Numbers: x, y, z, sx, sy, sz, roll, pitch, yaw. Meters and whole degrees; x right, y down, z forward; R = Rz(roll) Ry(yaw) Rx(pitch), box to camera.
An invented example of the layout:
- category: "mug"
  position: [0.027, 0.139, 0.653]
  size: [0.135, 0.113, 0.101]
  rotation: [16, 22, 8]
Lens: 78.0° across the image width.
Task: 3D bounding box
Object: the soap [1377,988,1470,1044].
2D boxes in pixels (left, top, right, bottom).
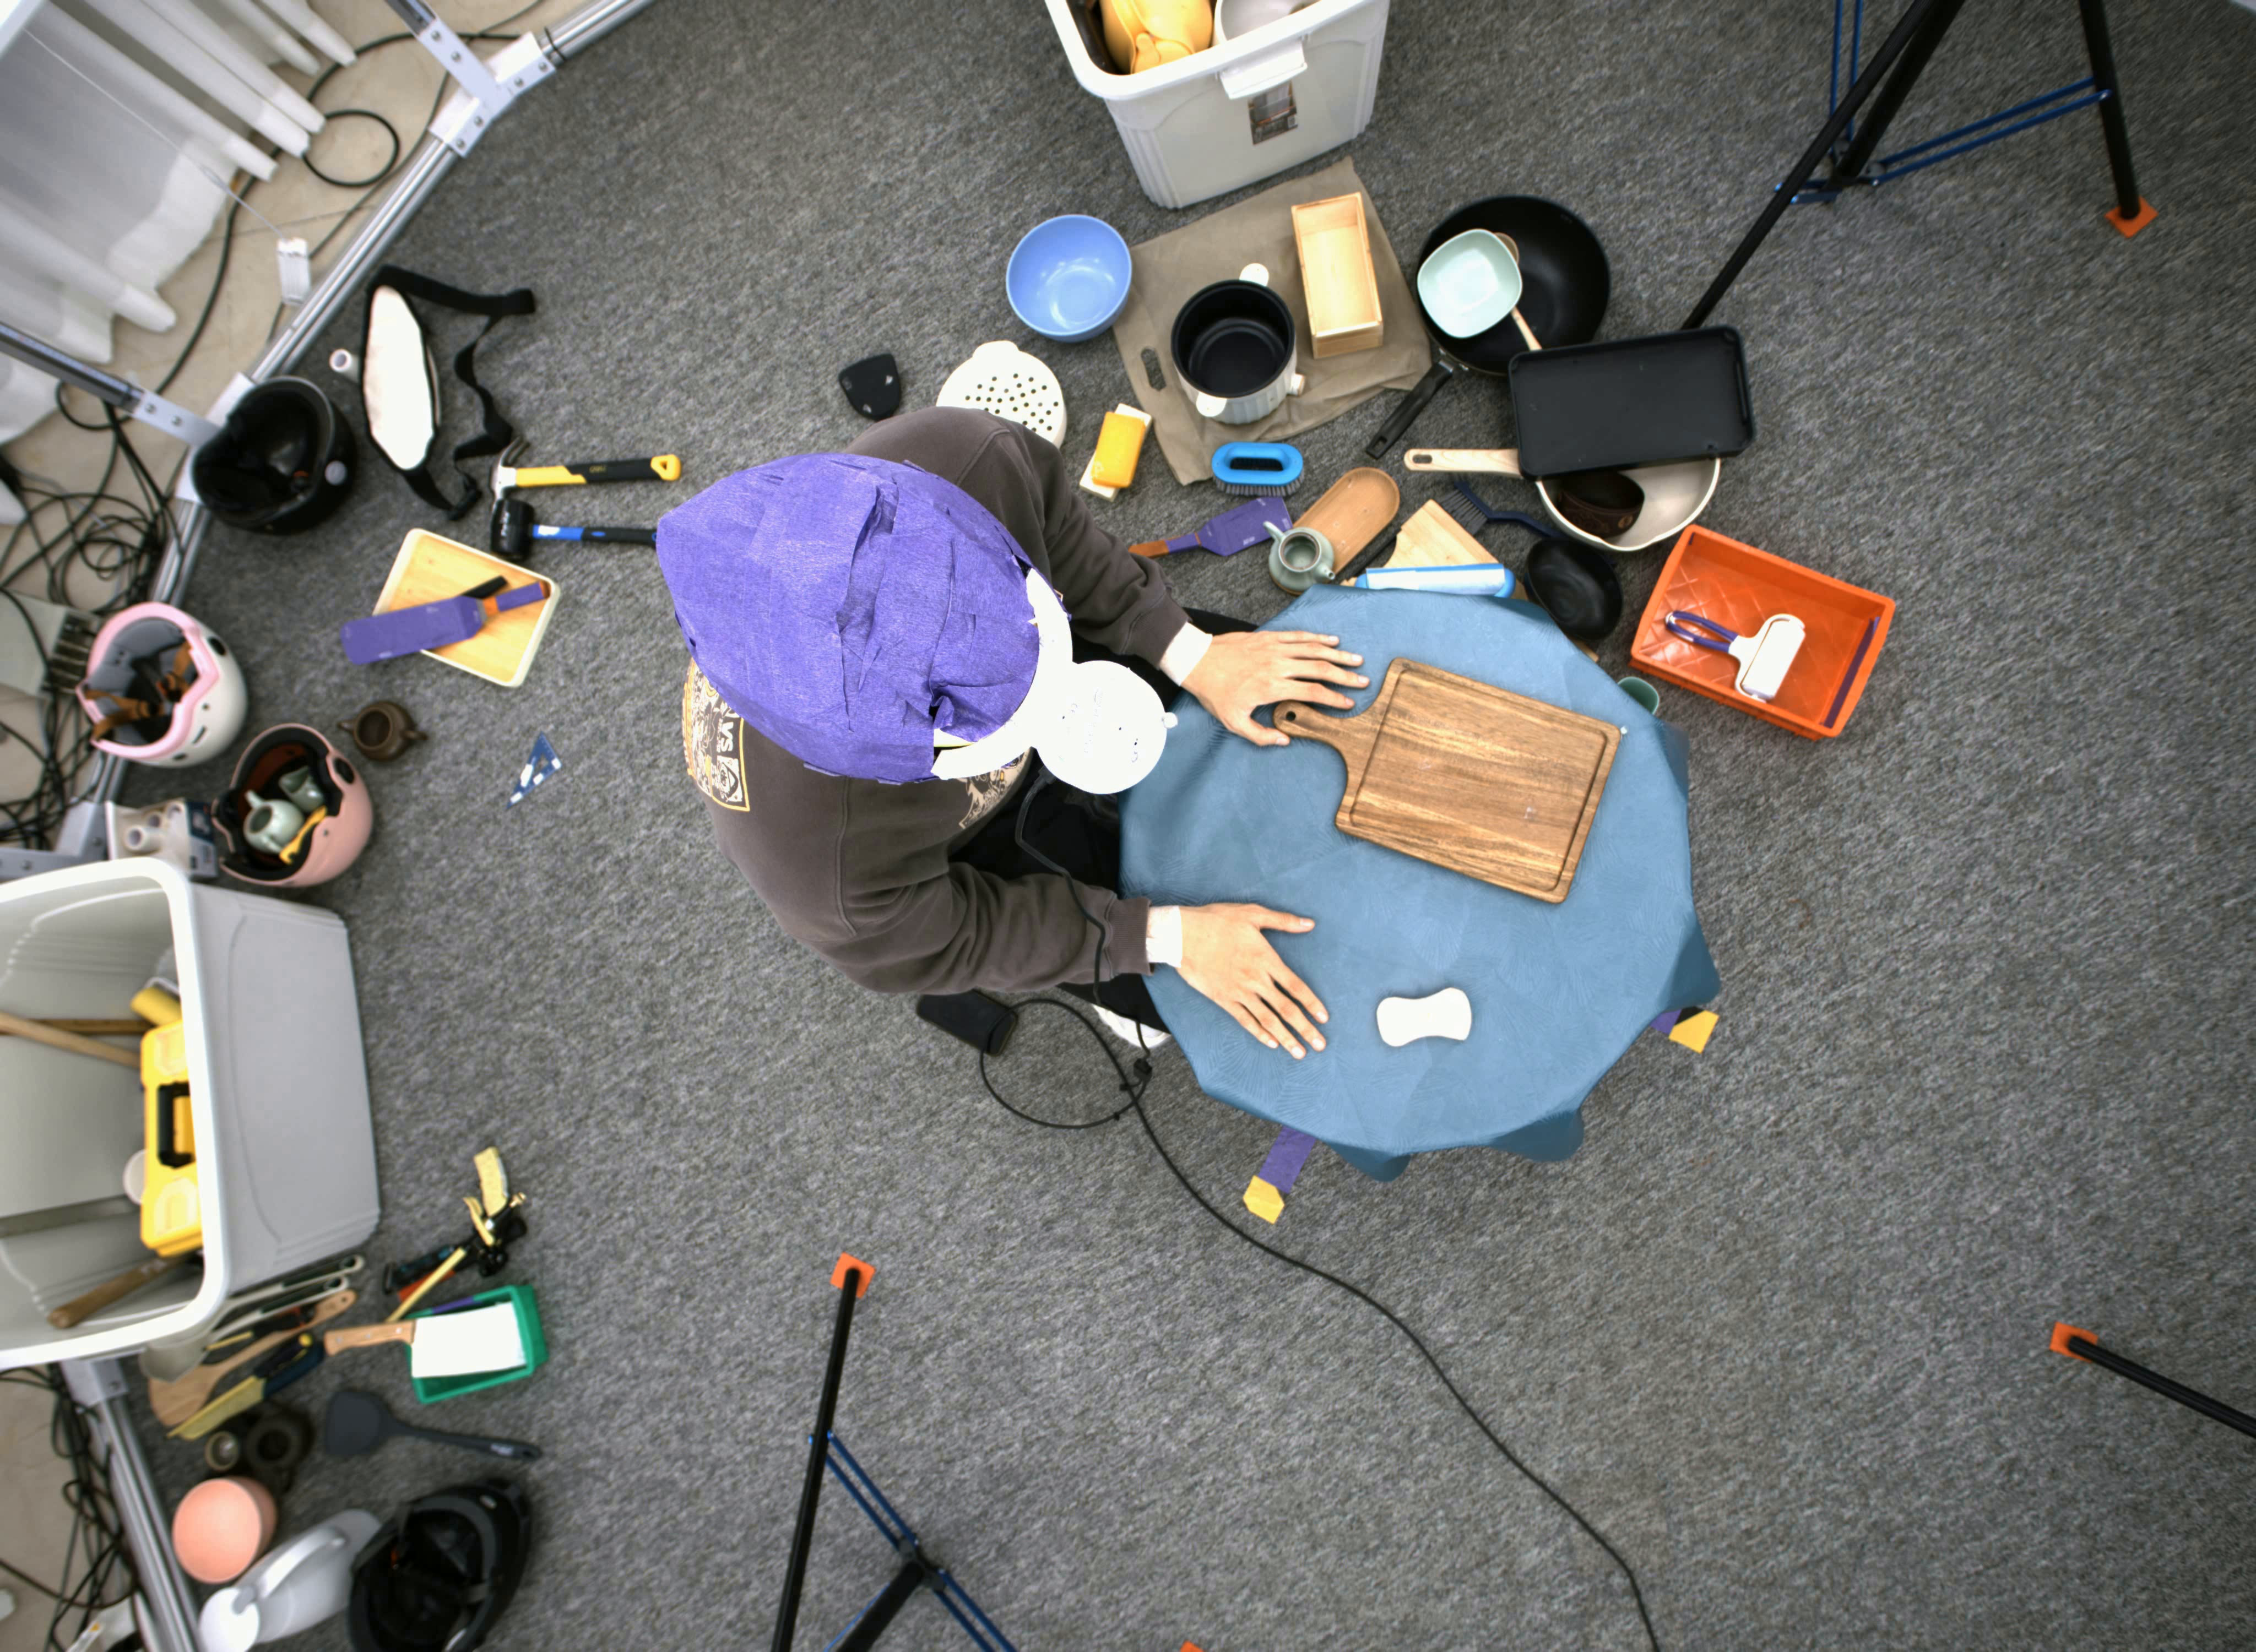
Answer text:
- category: "soap"
  position: [0.306, 0.195, 1.431]
  size: [0.095, 0.030, 0.050]
  rotation: [-9, 84, 11]

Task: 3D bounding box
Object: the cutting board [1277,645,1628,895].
- category: "cutting board"
  position: [0.325, -0.079, 1.444]
  size: [0.352, 0.023, 0.201]
  rotation: [20, 91, 11]
